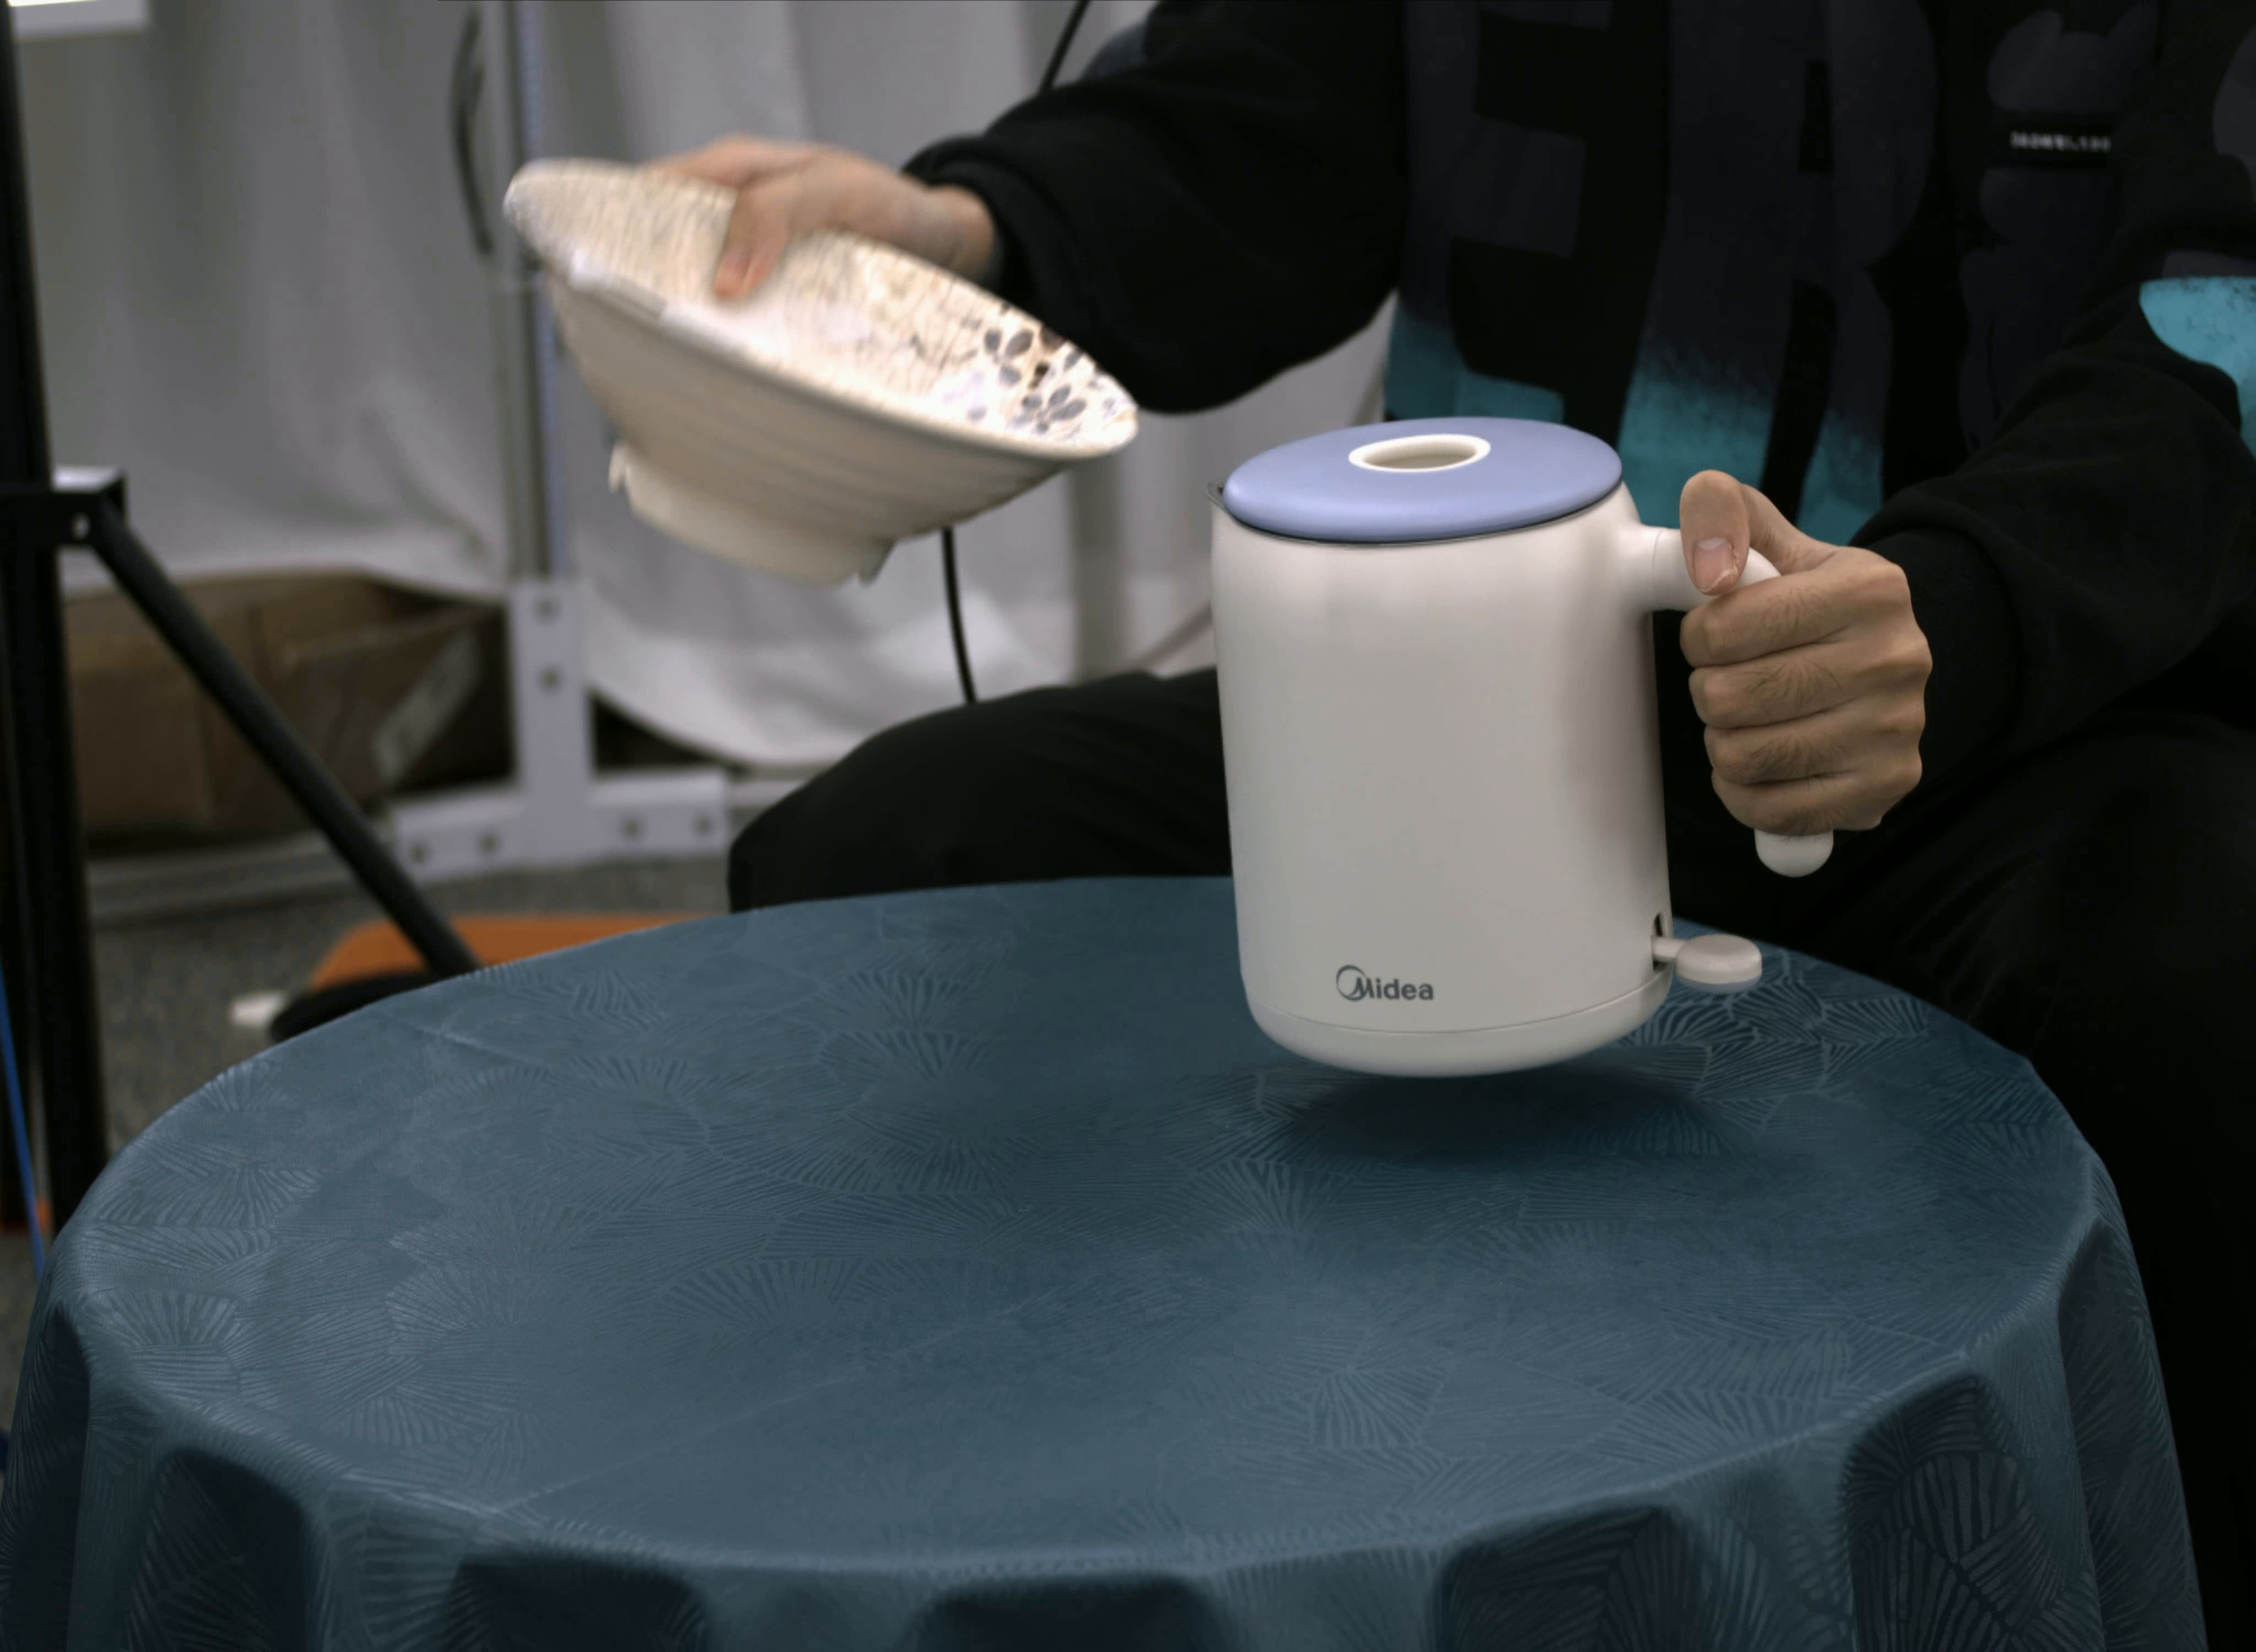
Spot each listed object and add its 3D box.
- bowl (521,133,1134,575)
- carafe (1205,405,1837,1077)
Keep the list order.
[{"bbox_3d":[-0.104,-0.129,1.615,0.202,0.078,0.205,24,13,-7],"label":"bowl"},{"bbox_3d":[0.117,-0.024,1.580,0.193,0.182,0.131,5,21,21],"label":"carafe"}]
